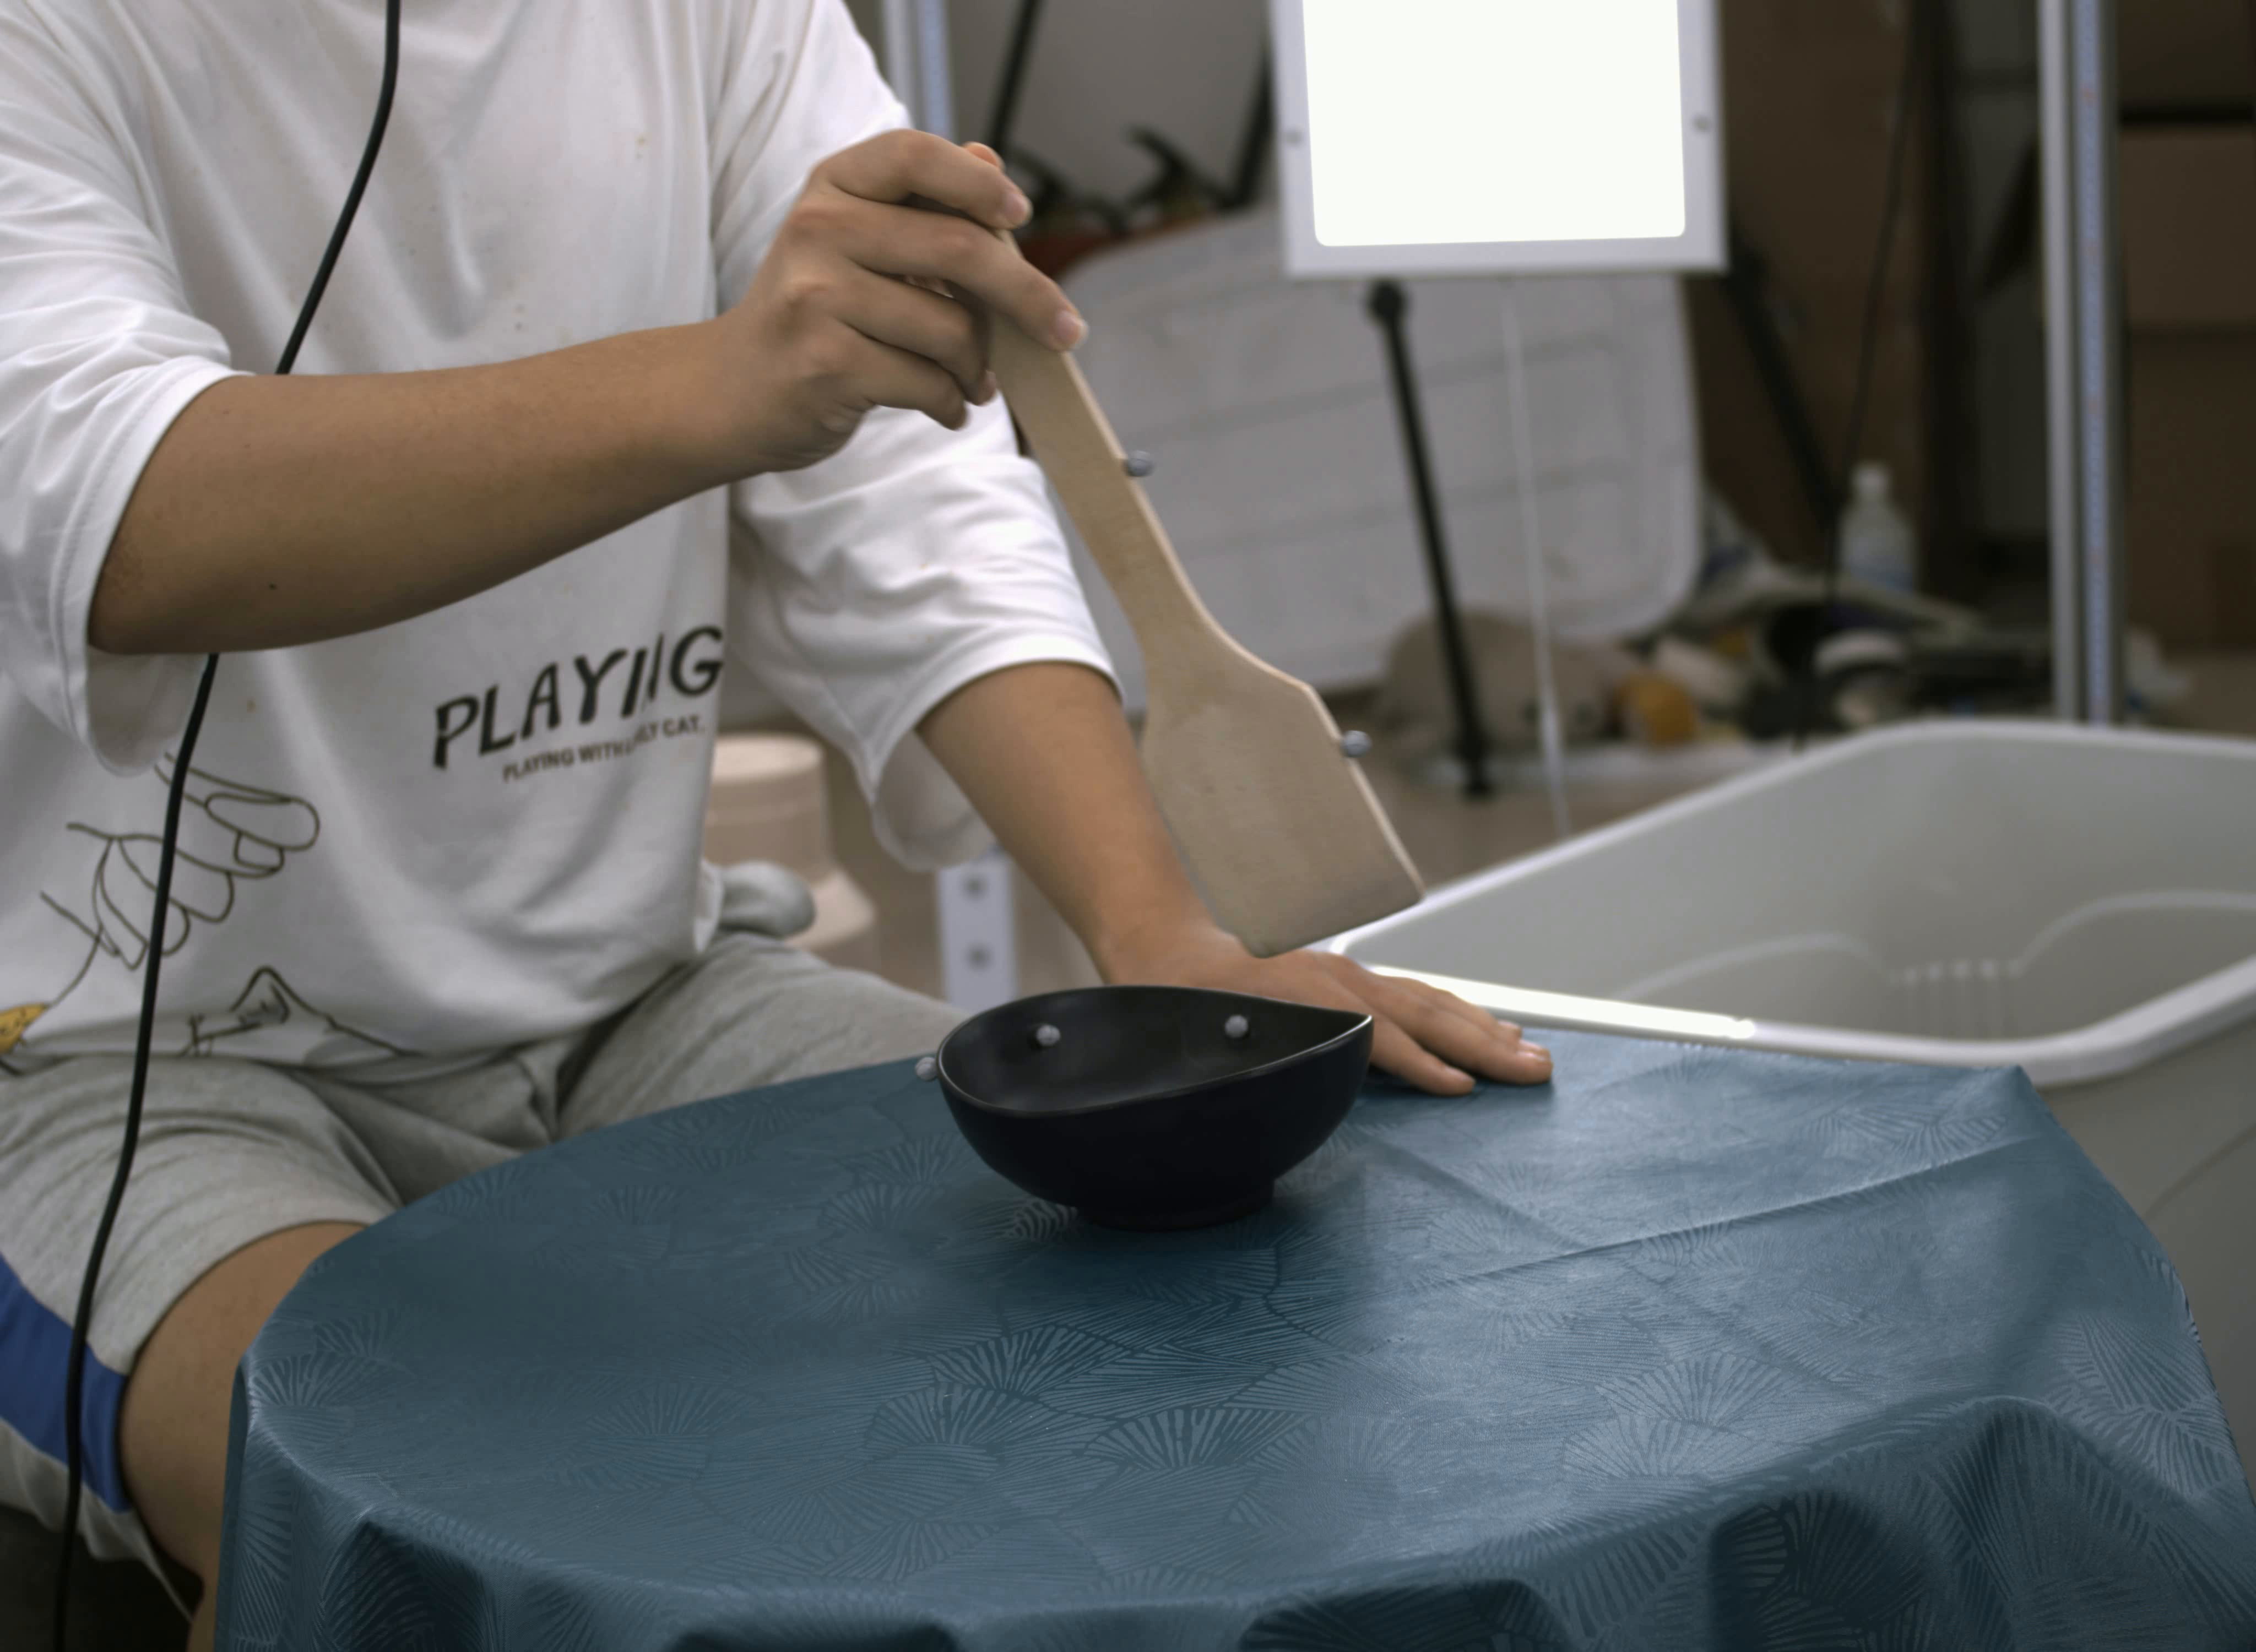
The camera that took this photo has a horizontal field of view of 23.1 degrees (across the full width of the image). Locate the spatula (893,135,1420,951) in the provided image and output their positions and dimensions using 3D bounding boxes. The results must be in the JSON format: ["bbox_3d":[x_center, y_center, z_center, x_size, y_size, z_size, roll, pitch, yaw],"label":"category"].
[{"bbox_3d":[0.003,-0.091,1.770,0.074,0.292,0.010,-20,15,32],"label":"spatula"}]

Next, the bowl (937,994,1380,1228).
[{"bbox_3d":[0.013,0.098,1.878,0.140,0.067,0.166,6,15,40],"label":"bowl"}]
